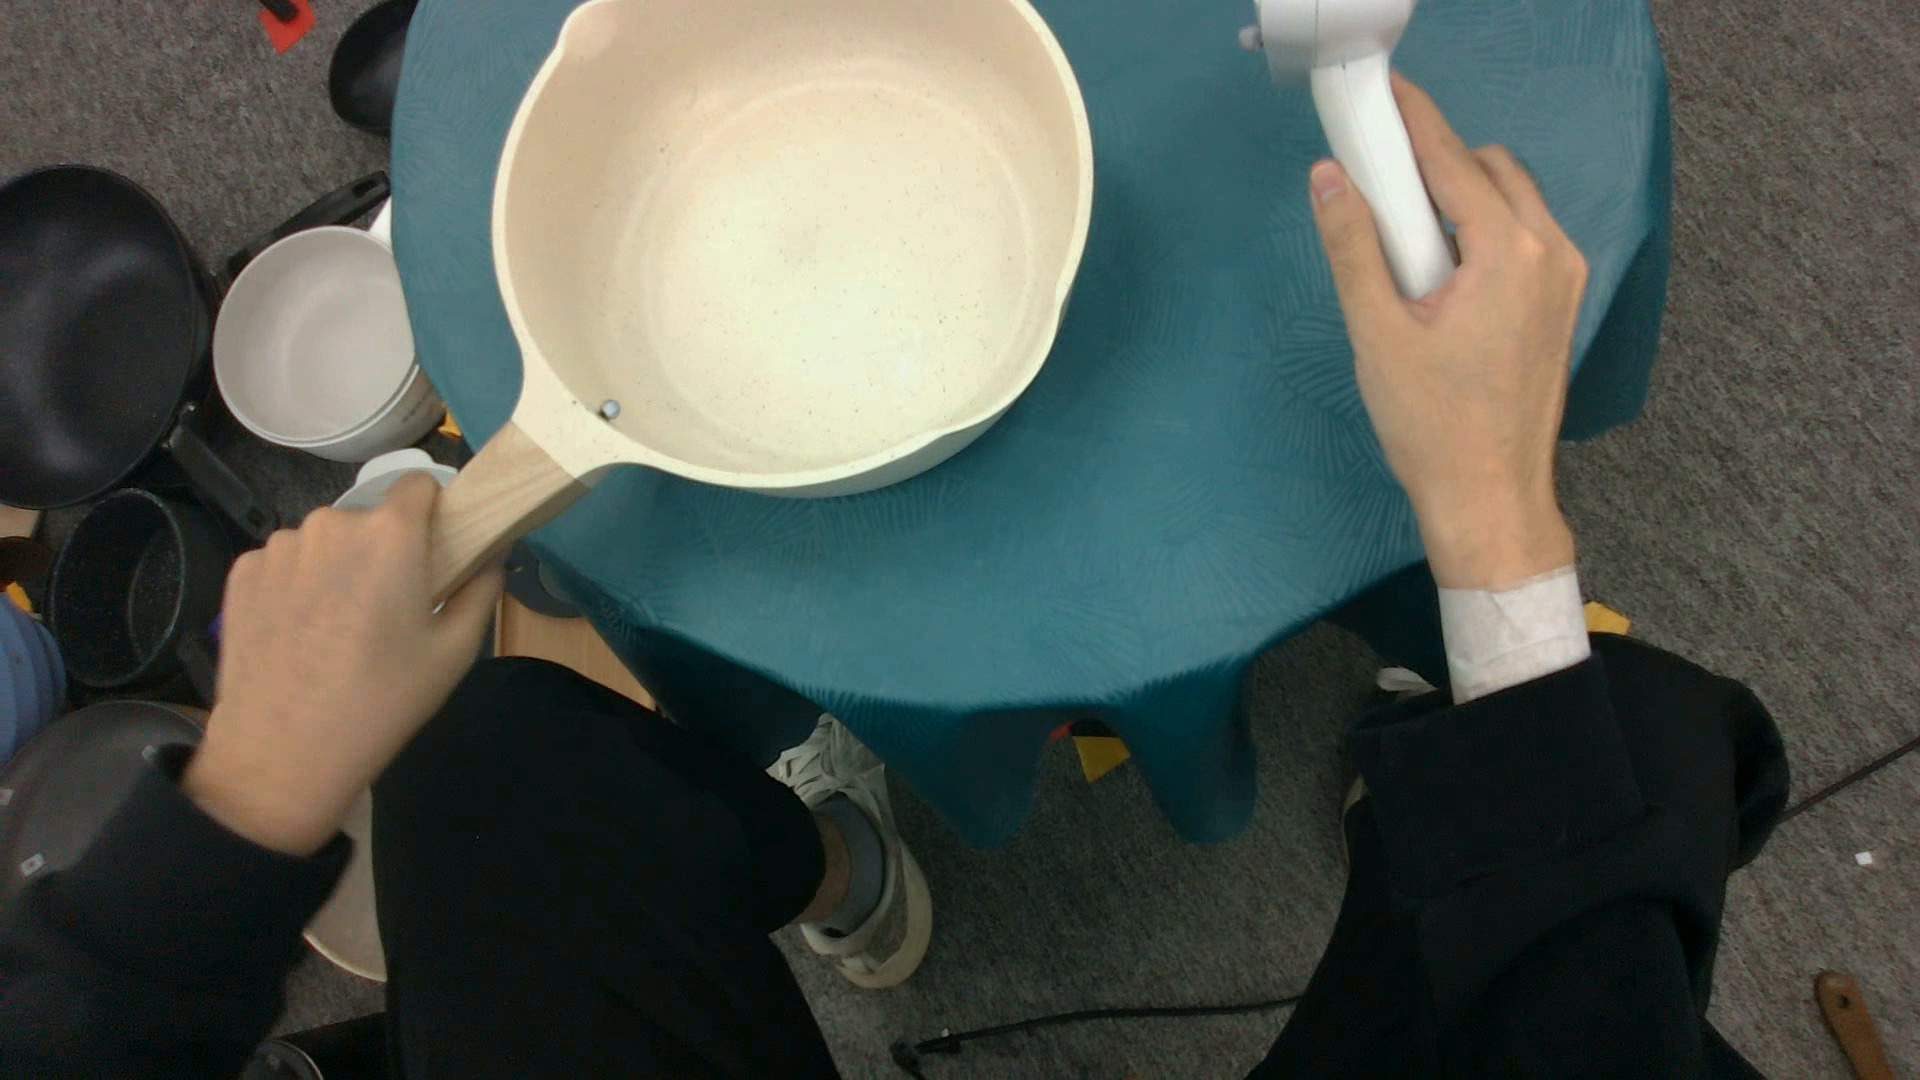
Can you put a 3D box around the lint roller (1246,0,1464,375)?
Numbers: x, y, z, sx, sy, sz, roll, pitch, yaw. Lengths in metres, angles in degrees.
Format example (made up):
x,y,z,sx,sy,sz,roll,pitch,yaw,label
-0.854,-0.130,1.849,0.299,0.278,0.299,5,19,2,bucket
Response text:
x,y,z,sx,sy,sz,roll,pitch,yaw,label
0.142,-0.151,0.496,0.074,0.193,0.192,-9,104,11,lint roller

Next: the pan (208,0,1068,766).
x,y,z,sx,sy,sz,roll,pitch,yaw,label
-0.138,-0.076,0.588,0.263,0.102,0.435,40,86,11,pan
